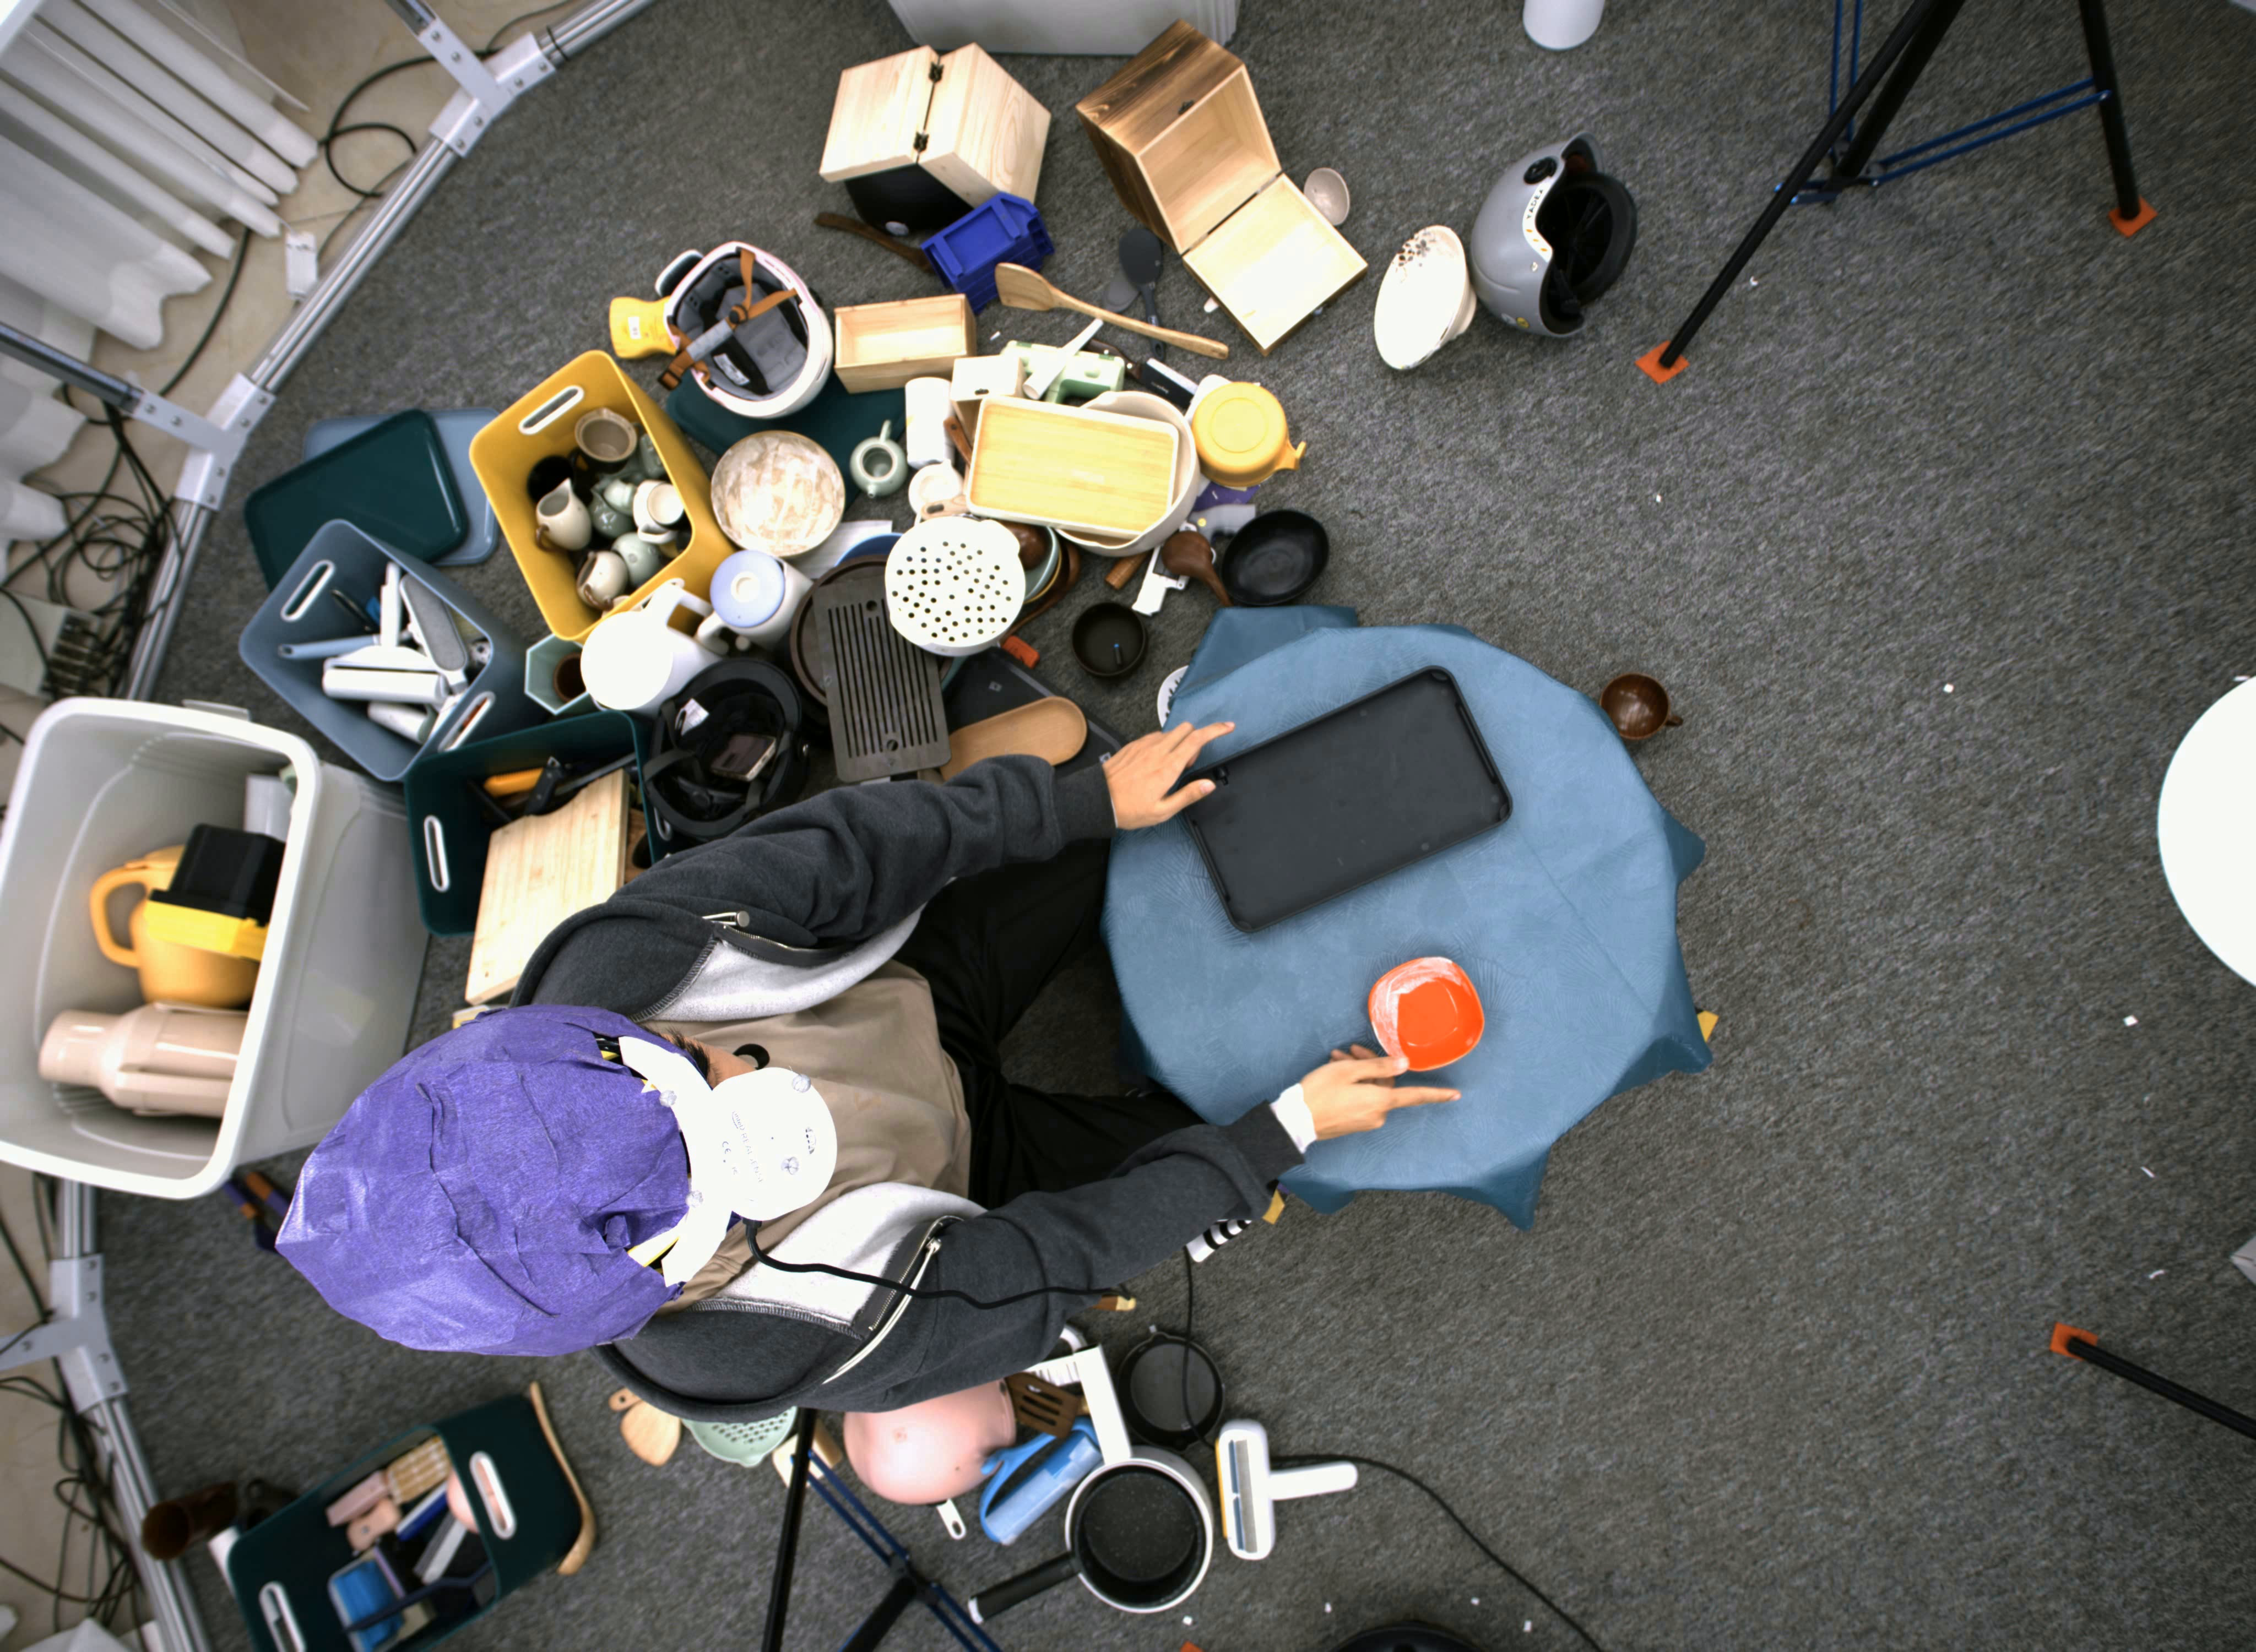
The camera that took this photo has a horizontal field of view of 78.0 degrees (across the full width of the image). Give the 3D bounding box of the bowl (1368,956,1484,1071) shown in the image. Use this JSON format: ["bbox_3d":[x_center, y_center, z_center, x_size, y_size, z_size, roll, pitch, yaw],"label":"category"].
[{"bbox_3d":[0.304,0.190,1.418,0.119,0.051,0.118,-1,86,8],"label":"bowl"}]

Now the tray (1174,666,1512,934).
[{"bbox_3d":[0.224,-0.026,1.454,0.320,0.037,0.183,-24,83,8],"label":"tray"}]
